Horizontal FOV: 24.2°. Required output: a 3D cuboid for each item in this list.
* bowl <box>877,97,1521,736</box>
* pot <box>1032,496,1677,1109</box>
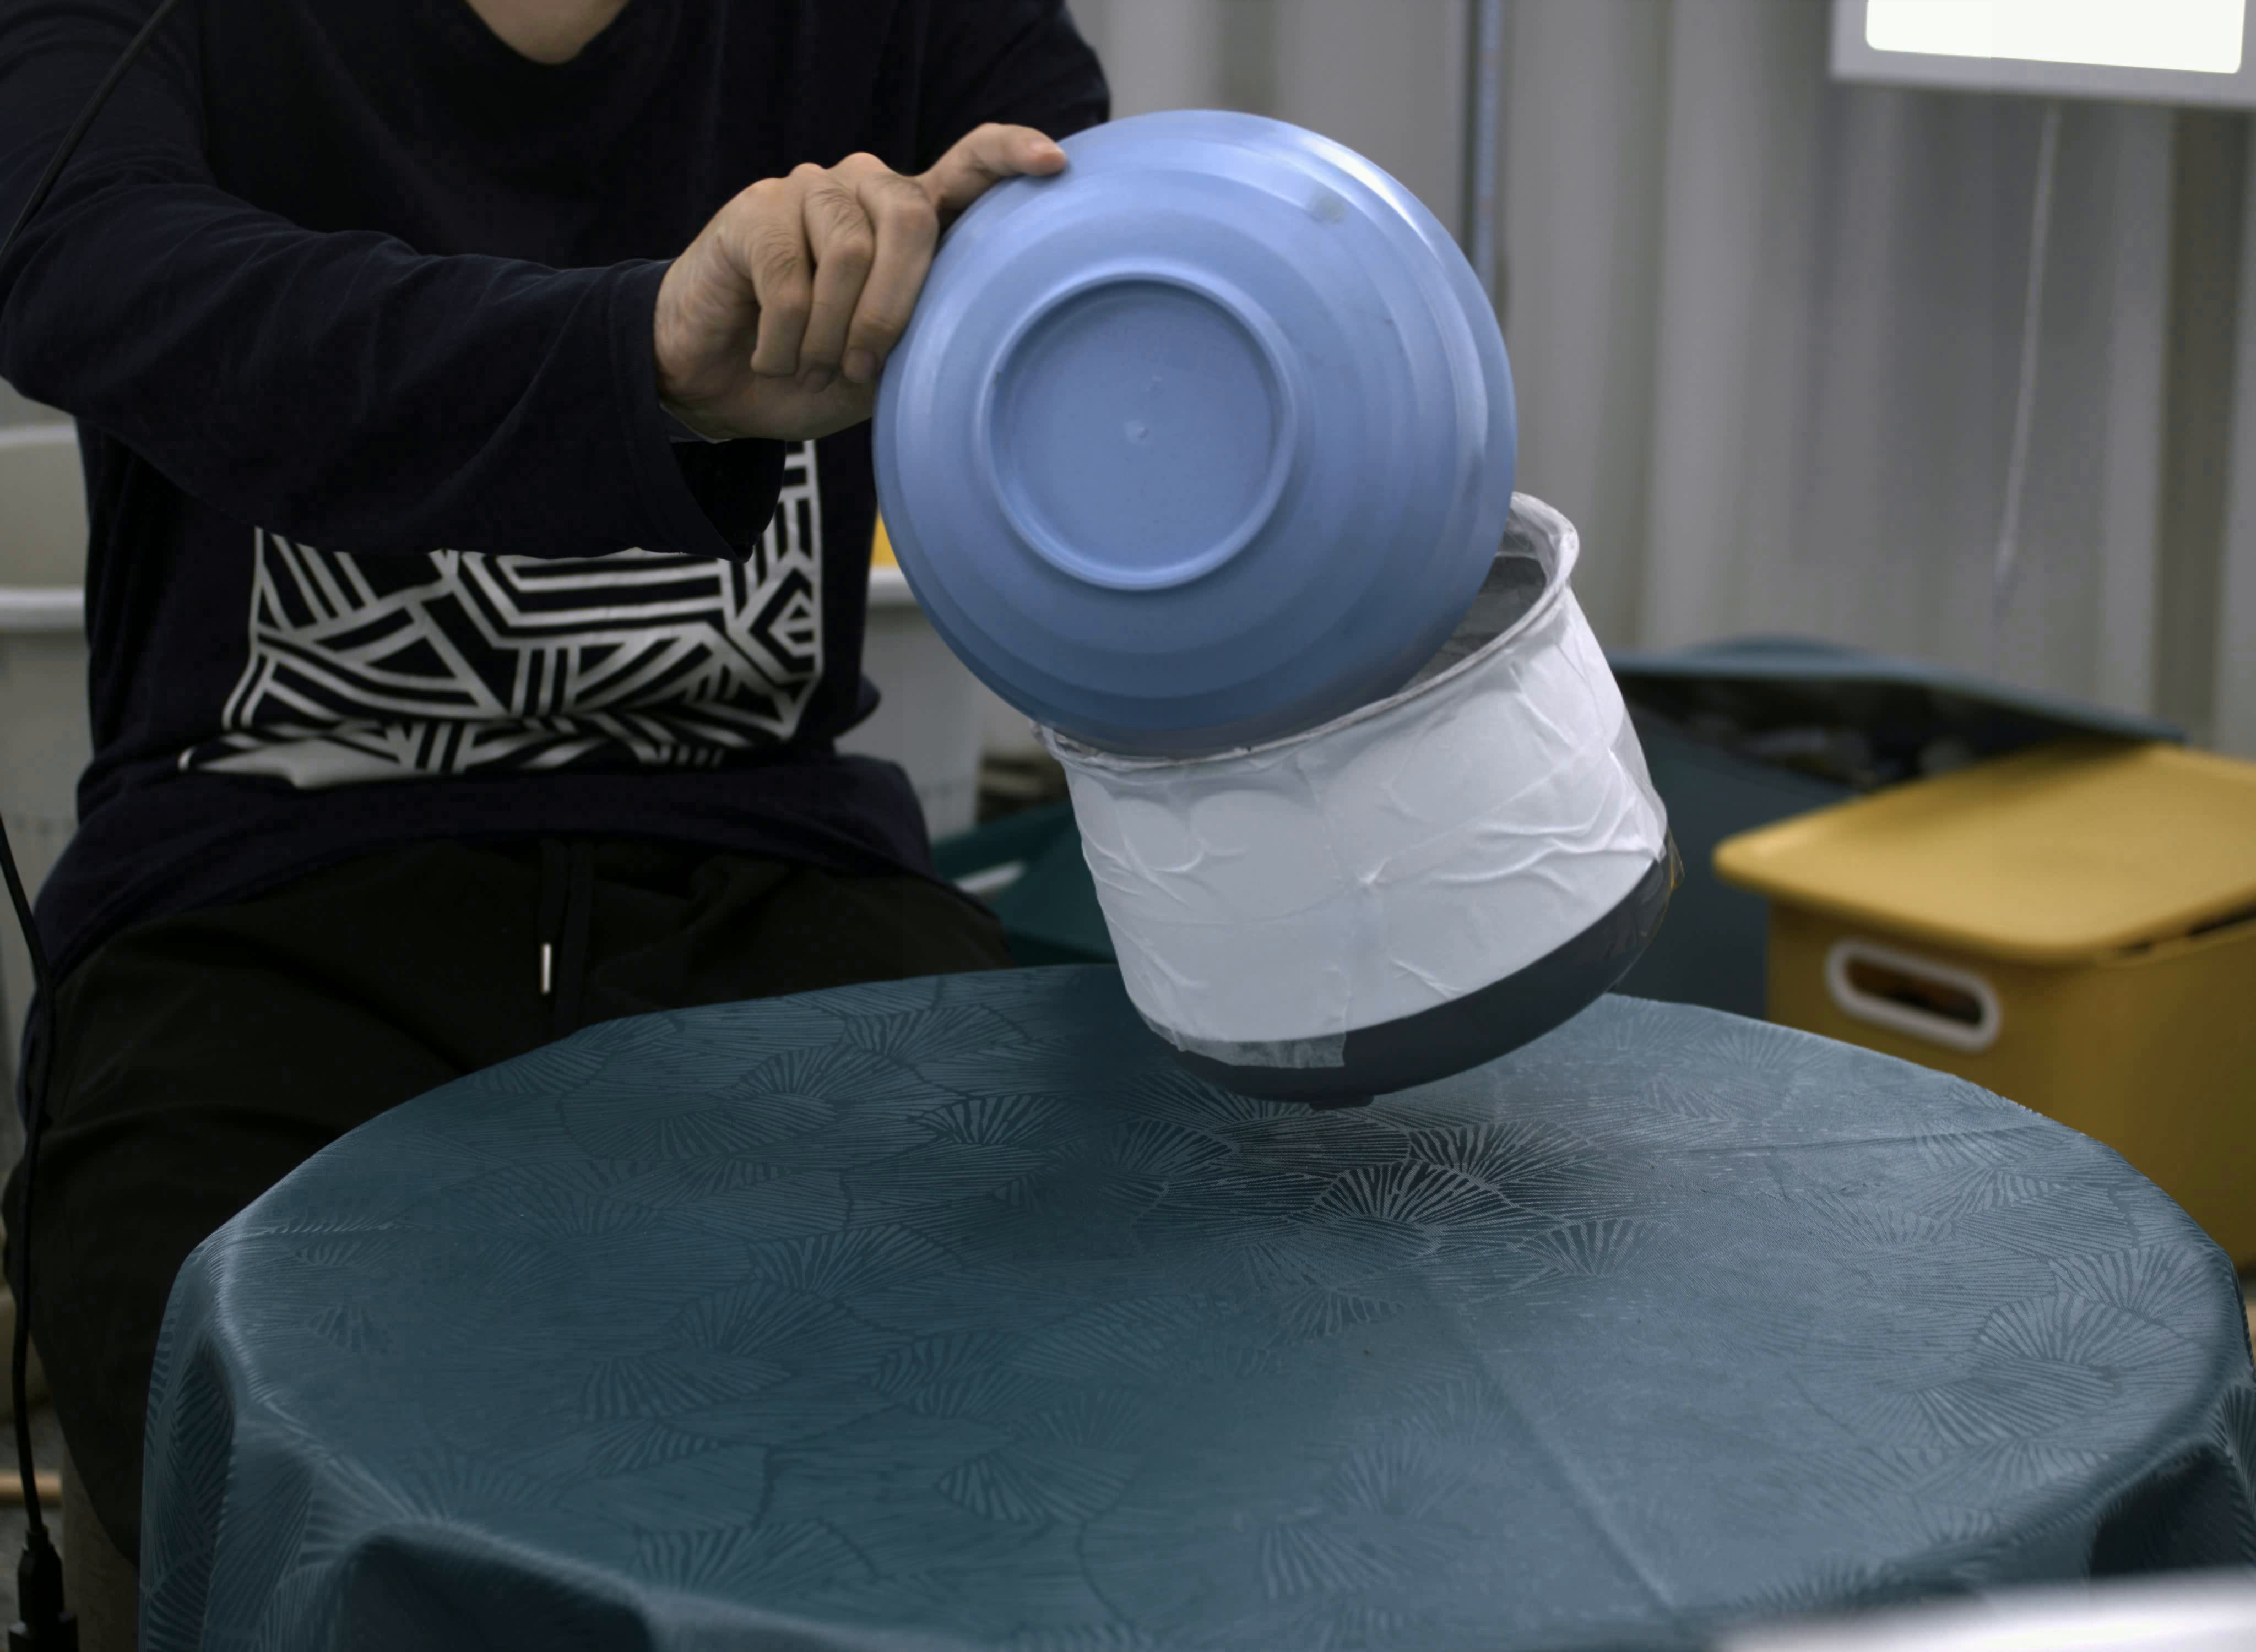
[{"bbox_3d":[0.010,-0.116,1.532,0.195,0.197,0.095,4,6,12],"label":"bowl"},{"bbox_3d":[0.062,-0.015,1.648,0.179,0.138,0.231,-23,23,-13],"label":"pot"}]
